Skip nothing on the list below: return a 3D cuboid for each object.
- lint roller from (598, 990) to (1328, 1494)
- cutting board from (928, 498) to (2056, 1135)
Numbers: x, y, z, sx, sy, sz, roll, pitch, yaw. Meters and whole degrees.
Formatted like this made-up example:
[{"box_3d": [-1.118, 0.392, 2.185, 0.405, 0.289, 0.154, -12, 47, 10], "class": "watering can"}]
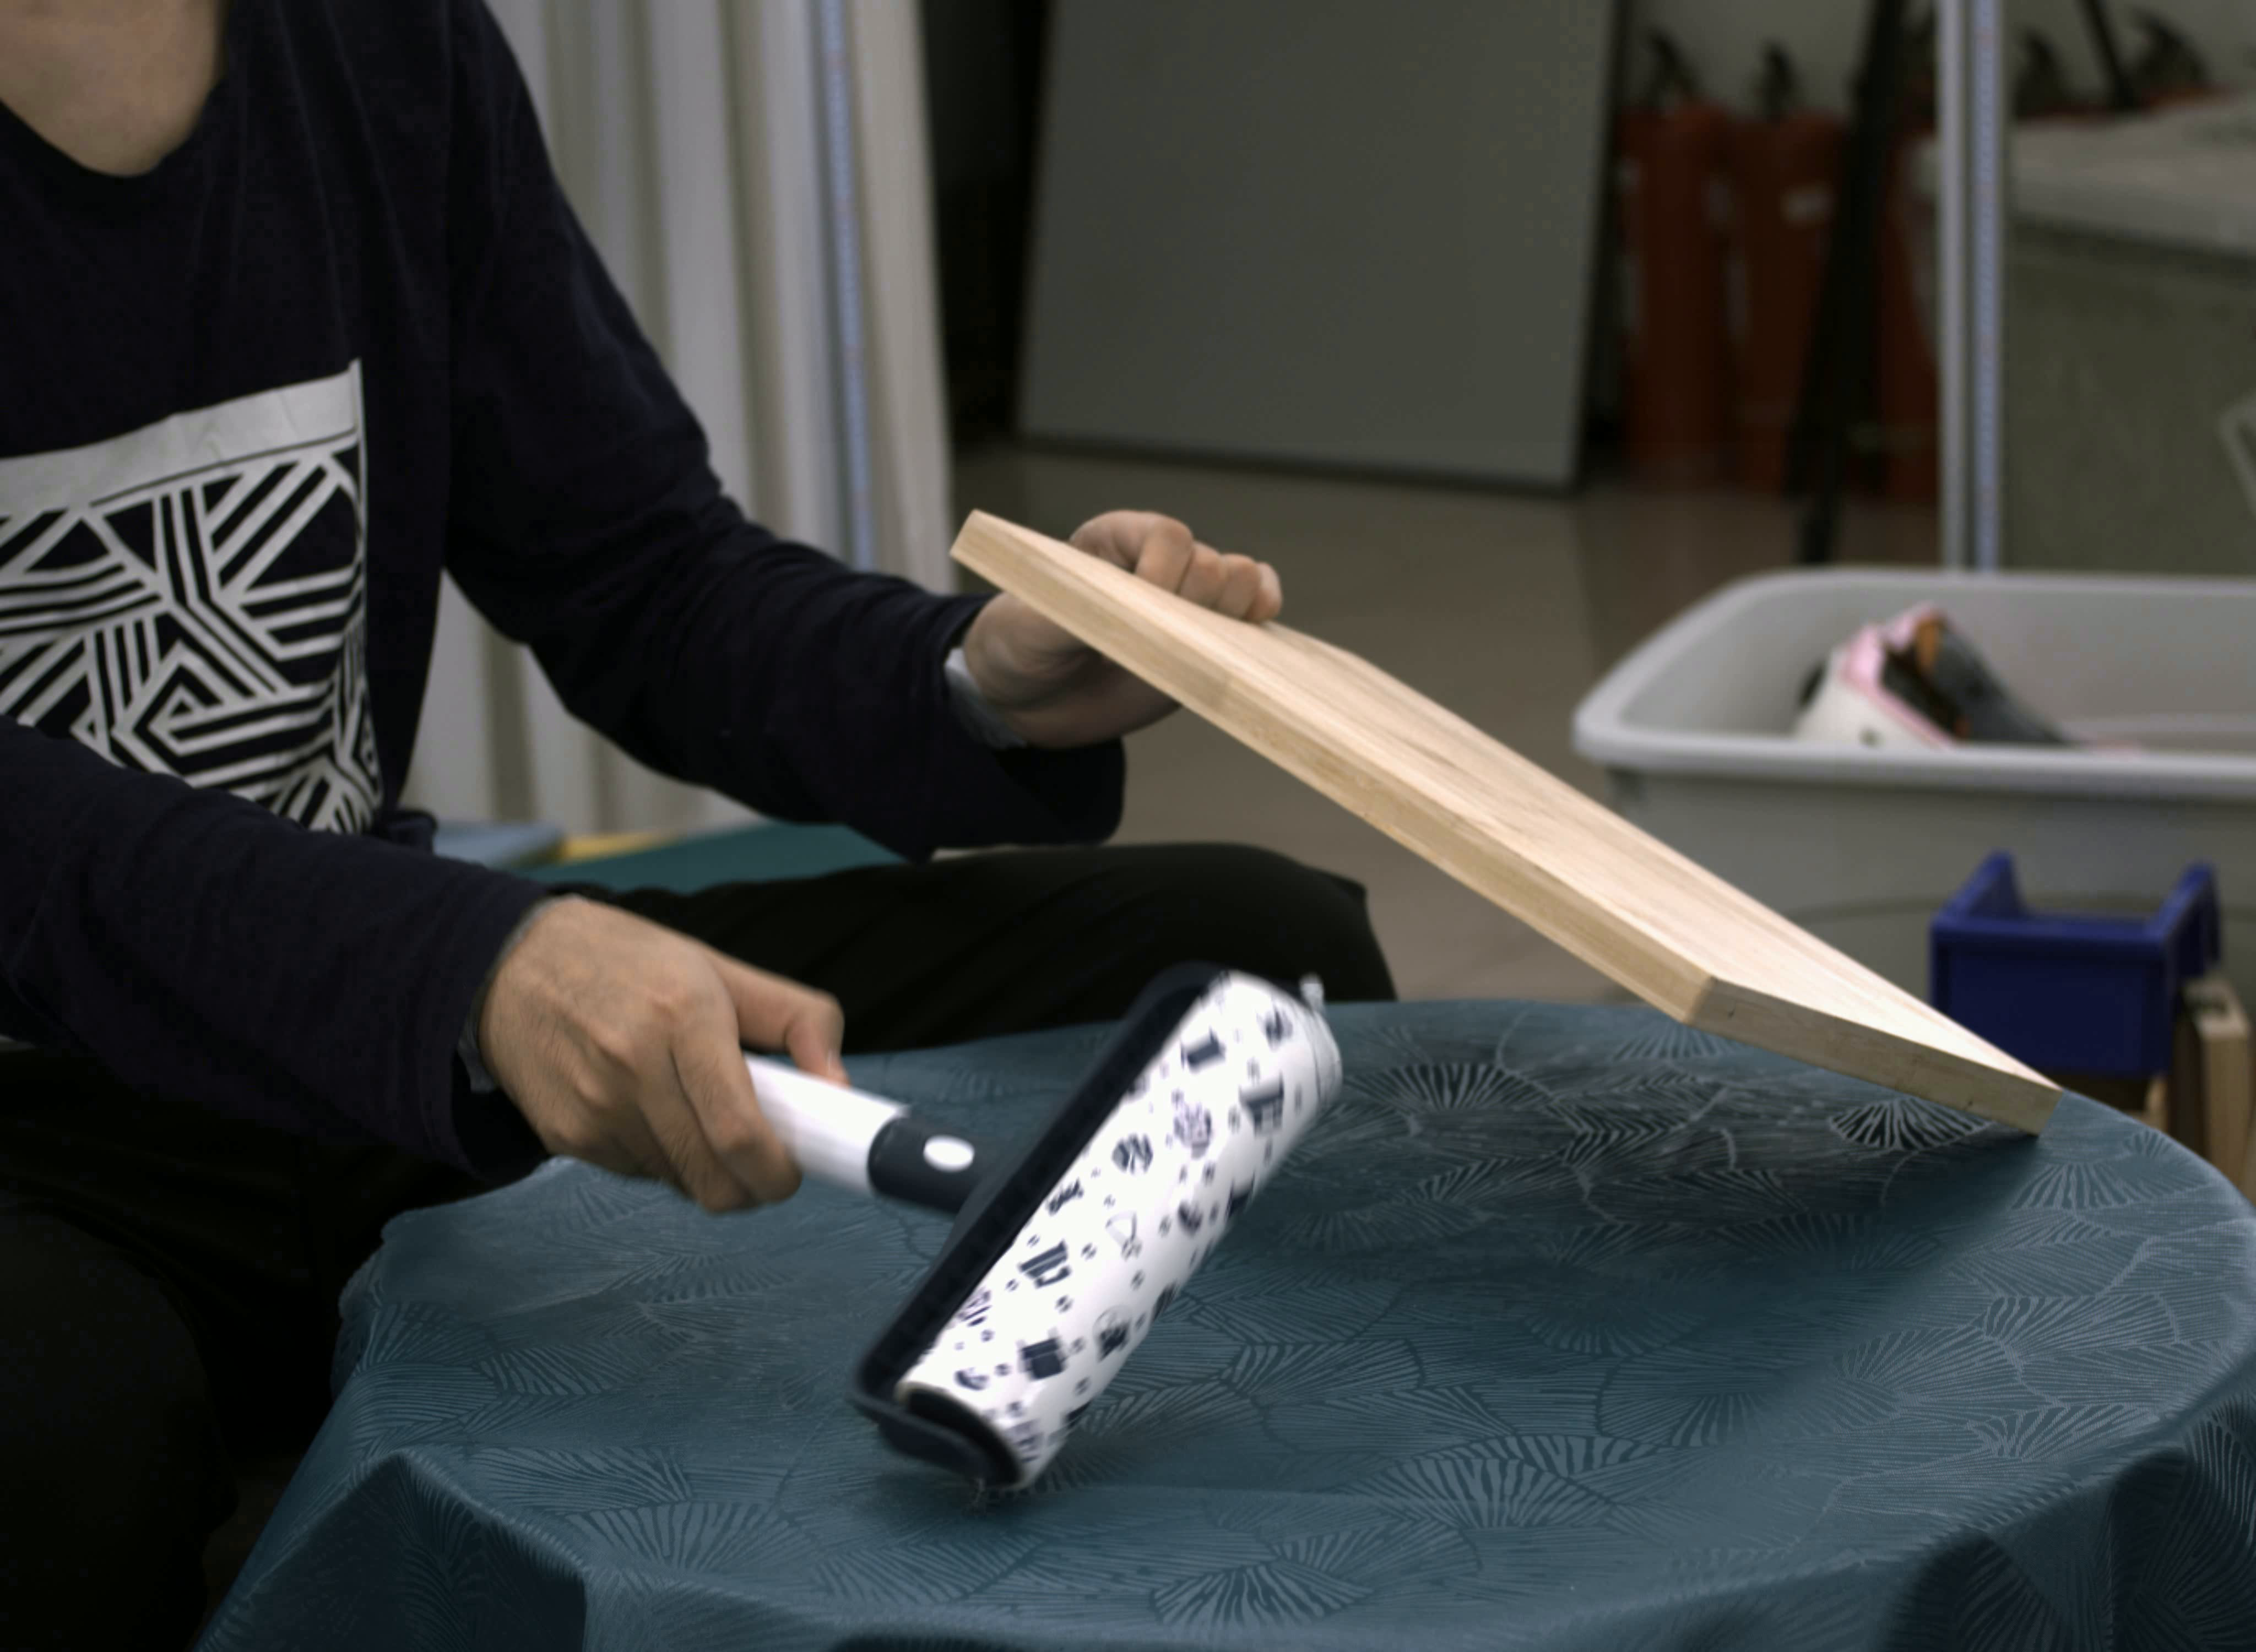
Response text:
[{"box_3d": [-0.078, 0.101, 1.602, 0.249, 0.050, 0.175, 13, 51, 43], "class": "lint roller"}, {"box_3d": [0.119, -0.003, 1.781, 0.352, 0.024, 0.246, 33, 9, 37], "class": "cutting board"}]
